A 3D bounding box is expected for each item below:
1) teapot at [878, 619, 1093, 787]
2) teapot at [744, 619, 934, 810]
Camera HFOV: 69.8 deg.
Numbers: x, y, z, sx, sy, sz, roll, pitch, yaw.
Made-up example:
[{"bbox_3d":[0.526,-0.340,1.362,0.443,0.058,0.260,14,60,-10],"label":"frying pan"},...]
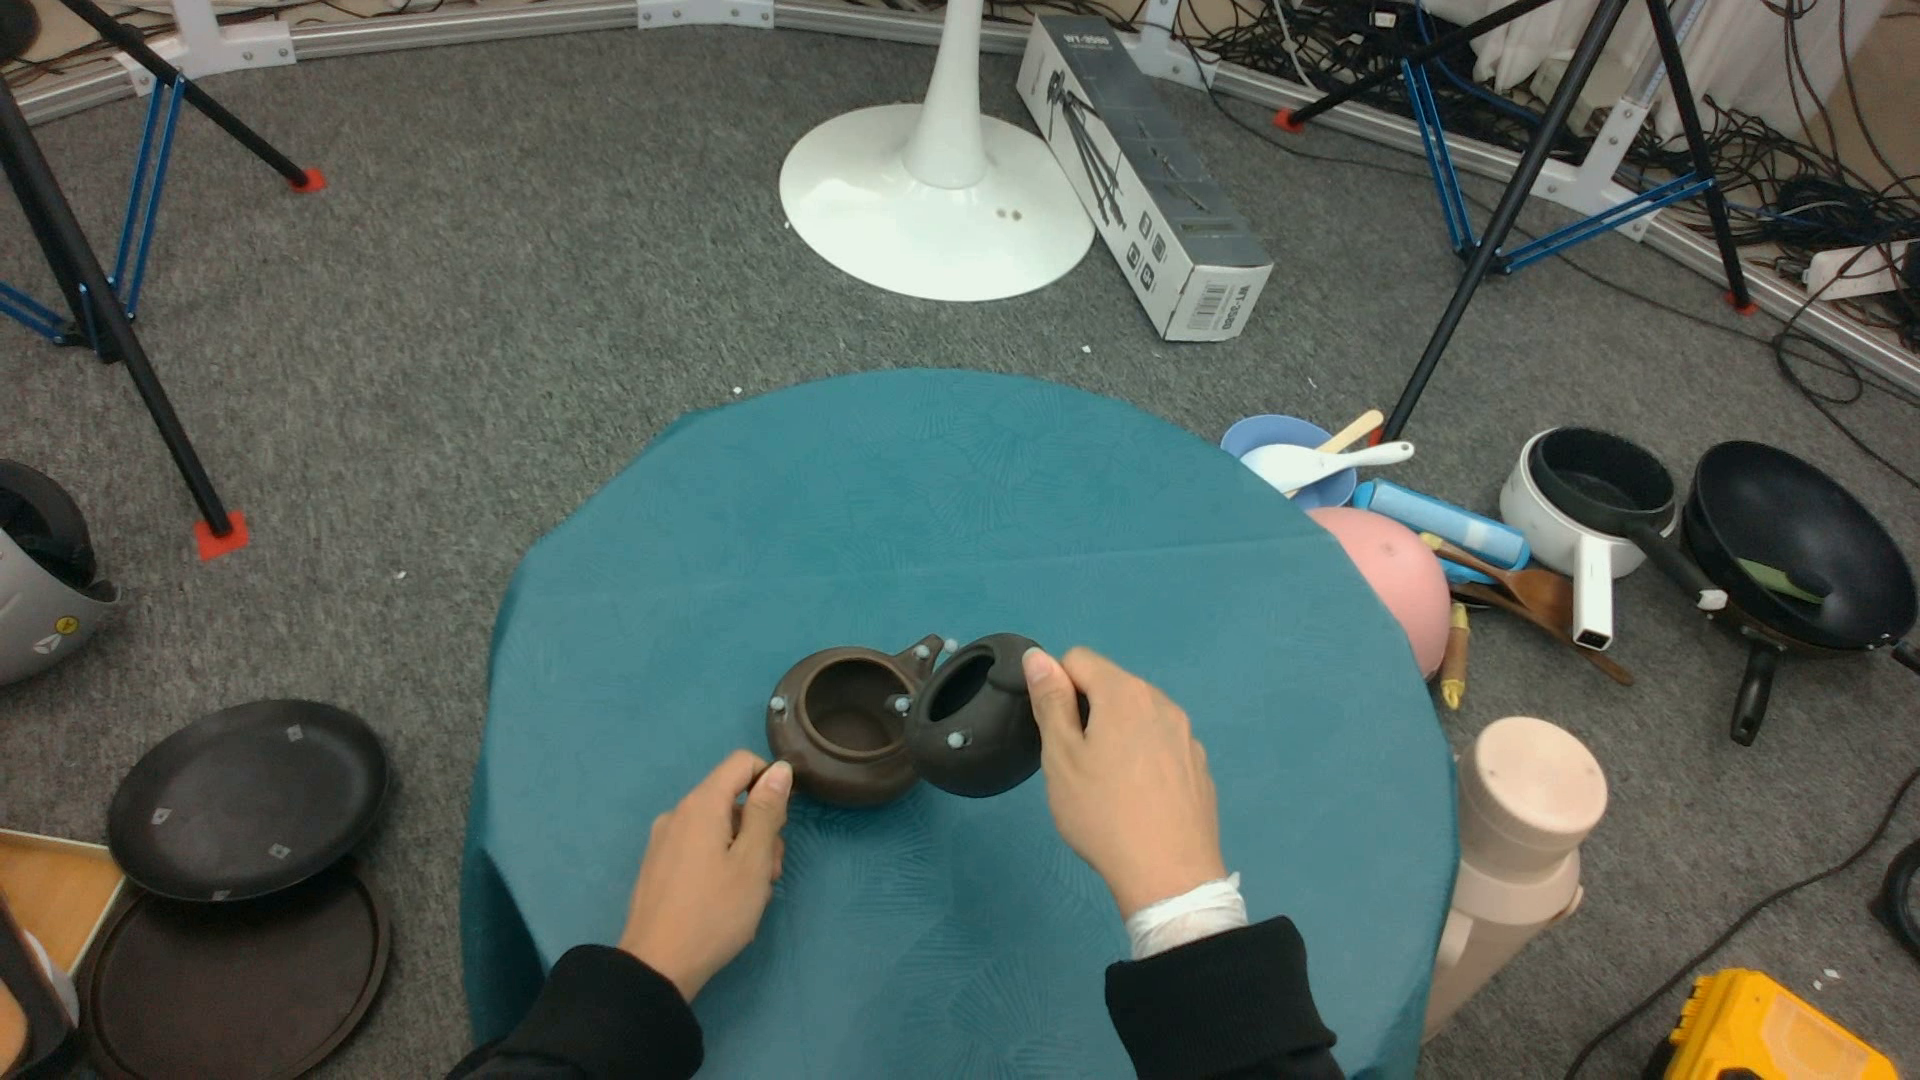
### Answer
[{"bbox_3d":[0.014,0.086,0.720,0.064,0.153,0.093,45,57,-22],"label":"teapot"},{"bbox_3d":[-0.068,0.103,0.799,0.102,0.053,0.154,33,48,16],"label":"teapot"}]
